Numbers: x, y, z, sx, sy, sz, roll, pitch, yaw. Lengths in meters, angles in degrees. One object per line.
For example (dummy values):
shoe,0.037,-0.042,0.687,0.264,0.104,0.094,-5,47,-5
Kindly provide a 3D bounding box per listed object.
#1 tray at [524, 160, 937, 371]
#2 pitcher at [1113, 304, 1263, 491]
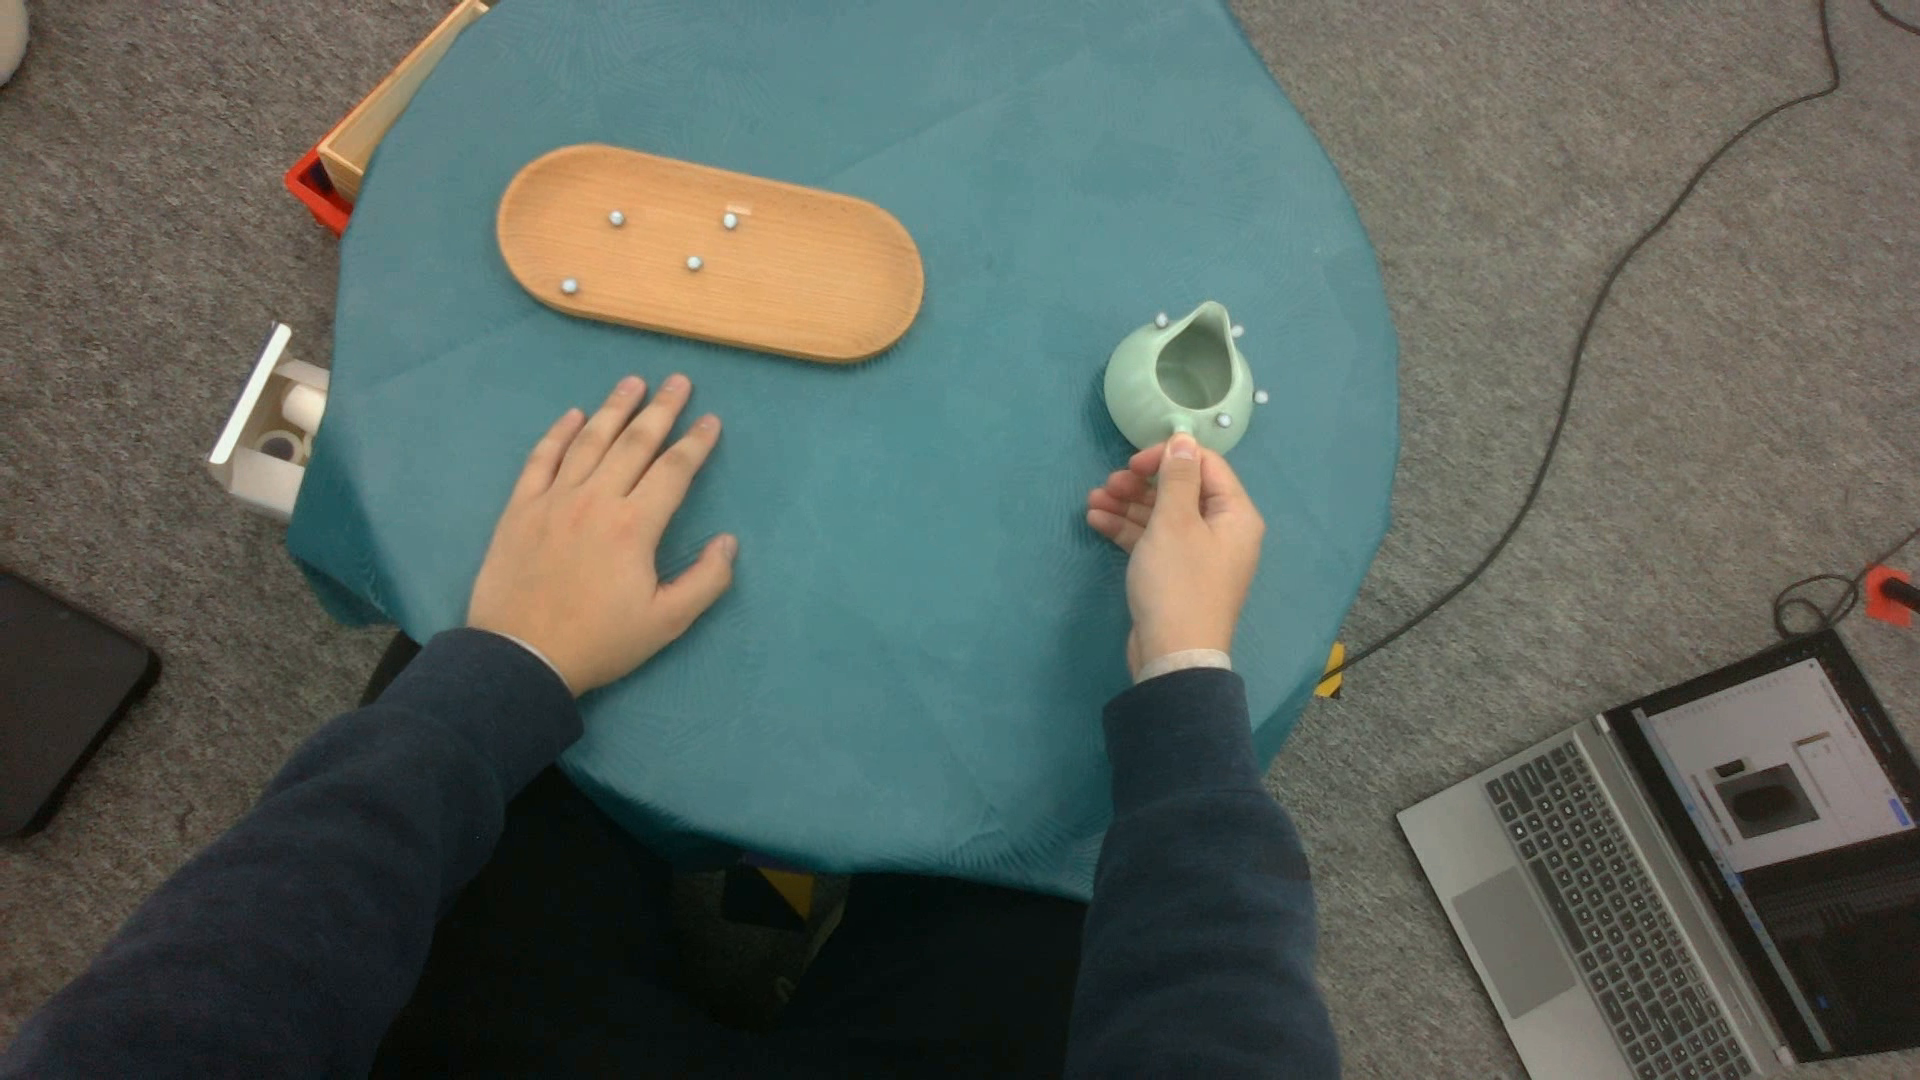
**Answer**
tray,-0.127,-0.154,0.779,0.231,0.020,0.102,10,74,-8
pitcher,0.128,-0.075,0.774,0.086,0.060,0.108,16,73,-2
